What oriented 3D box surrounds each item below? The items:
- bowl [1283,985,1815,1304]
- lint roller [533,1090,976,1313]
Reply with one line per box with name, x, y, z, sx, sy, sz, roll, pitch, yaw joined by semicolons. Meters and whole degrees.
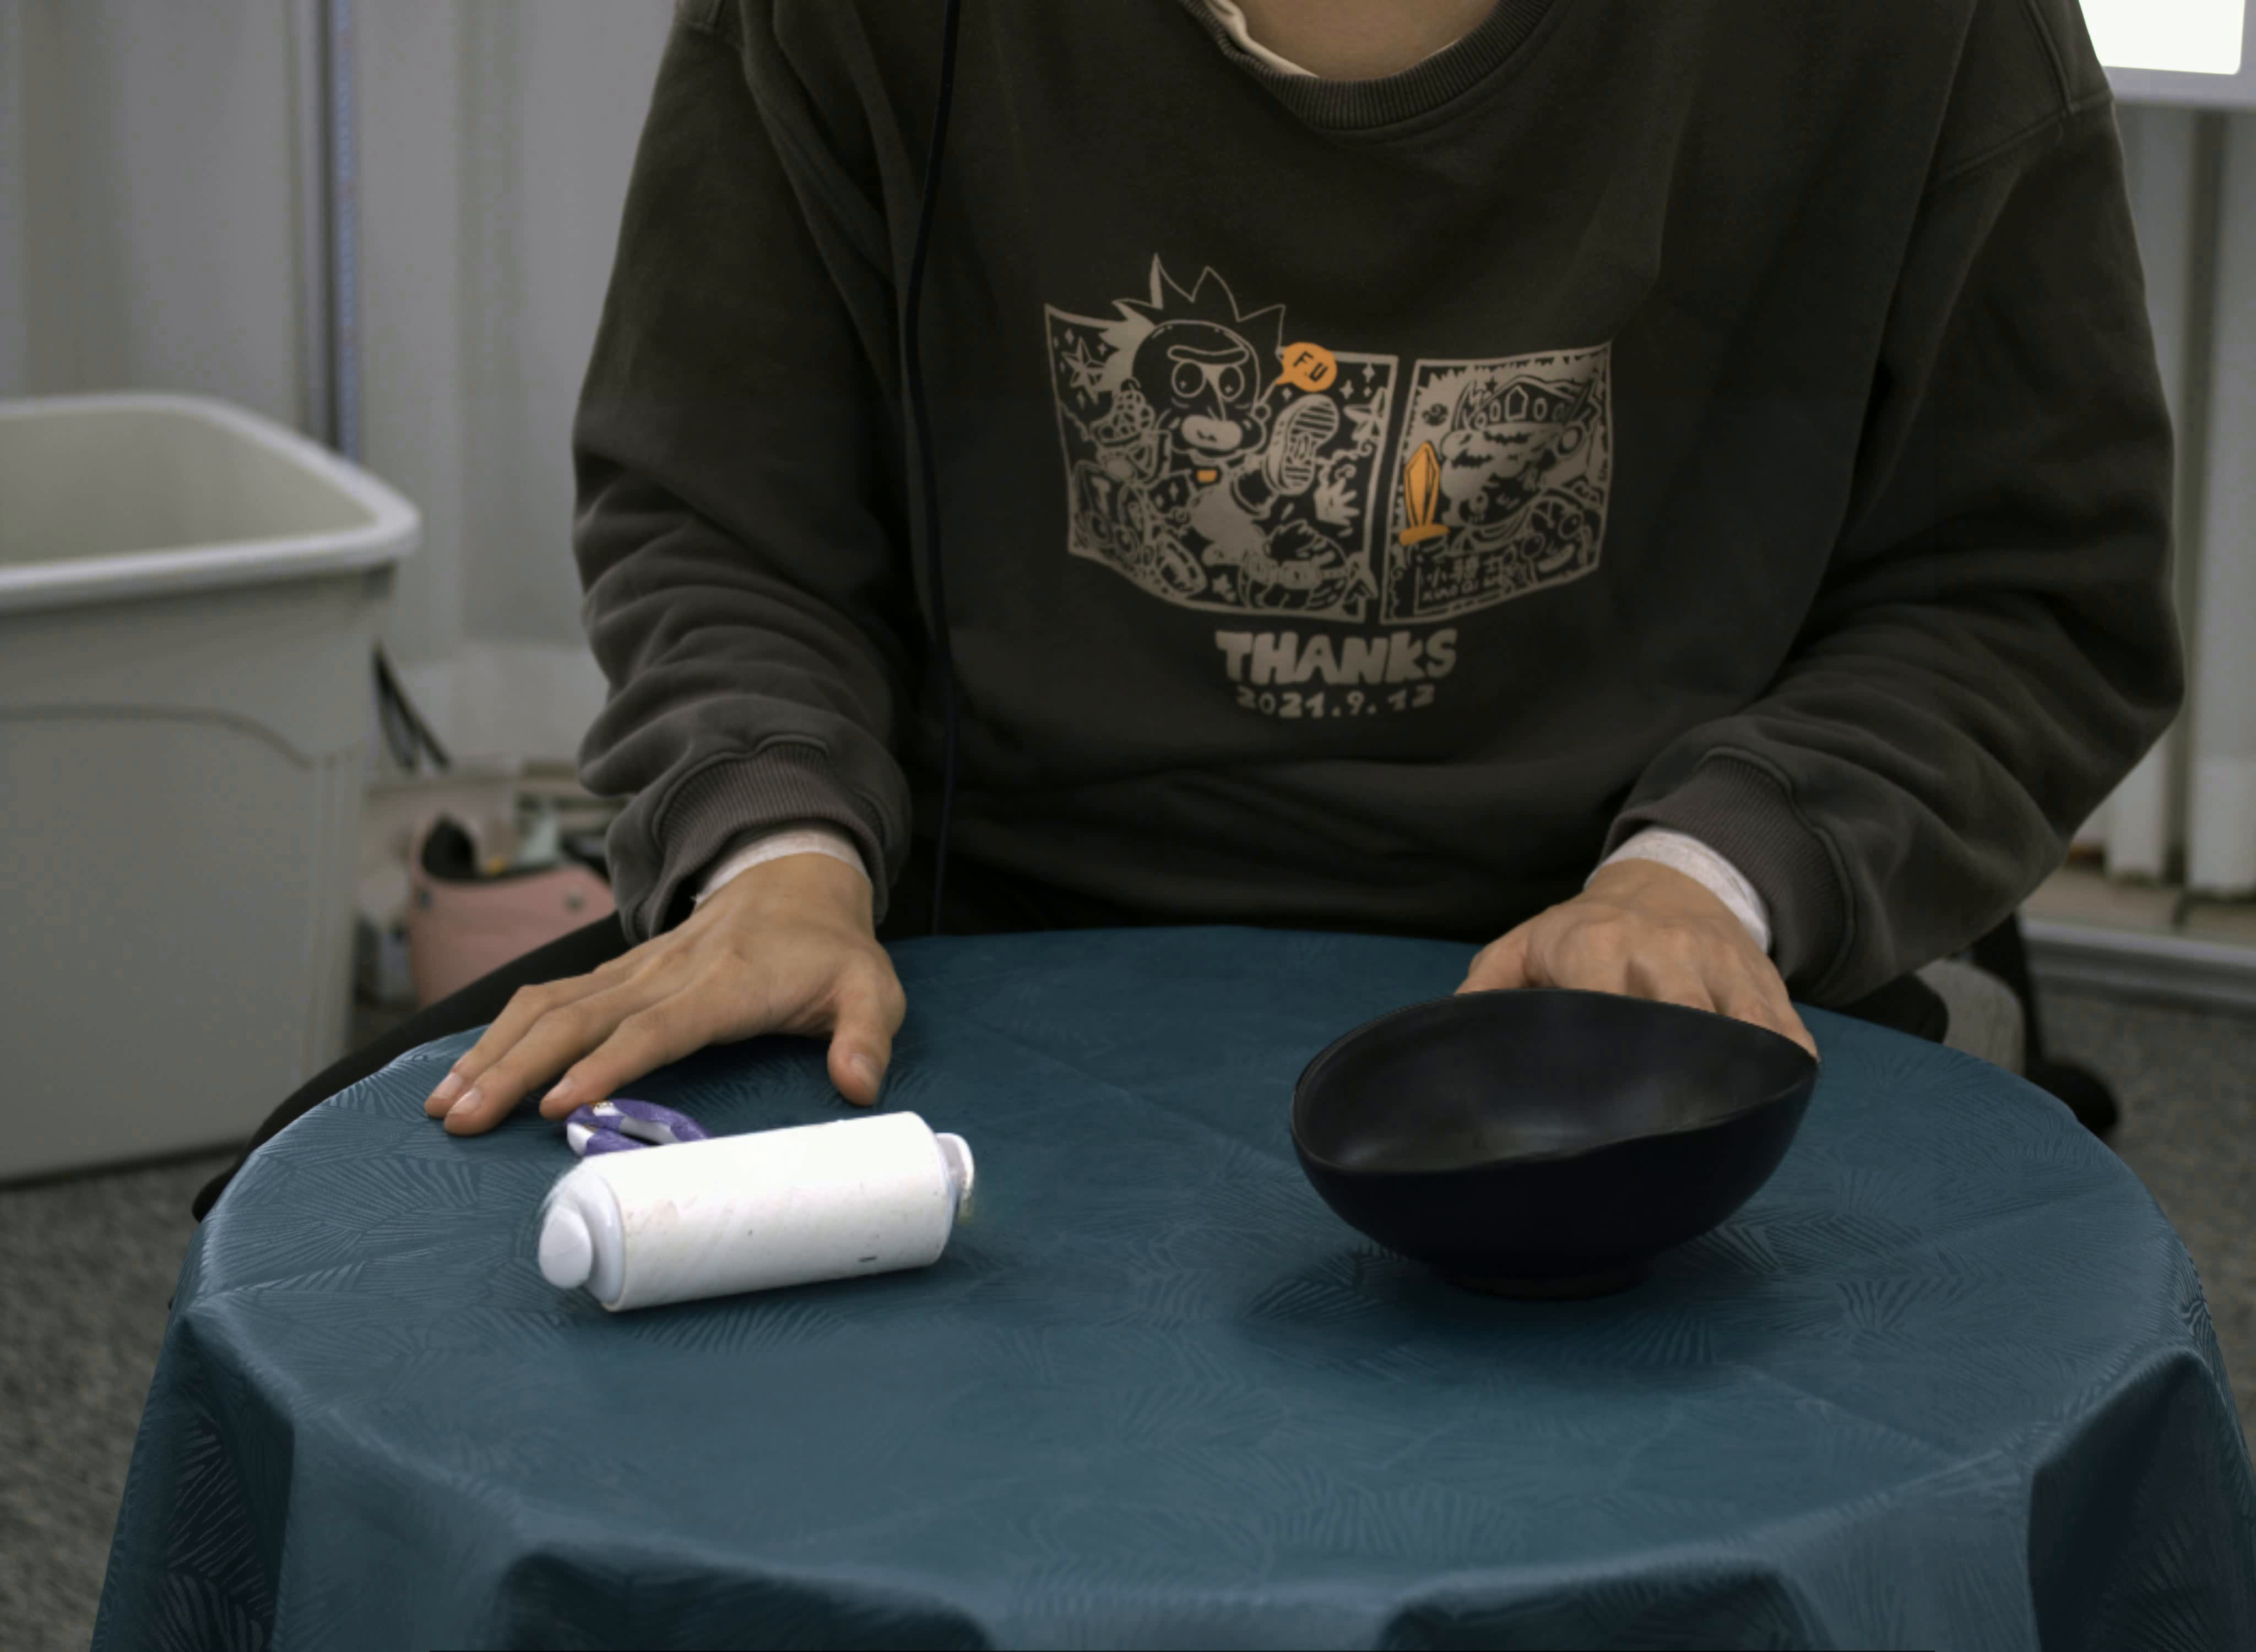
bowl;0.126;0.100;1.562;0.171;0.067;0.135;-14;20;-37
lint roller;-0.132;0.095;1.598;0.133;0.050;0.178;-6;19;-21
